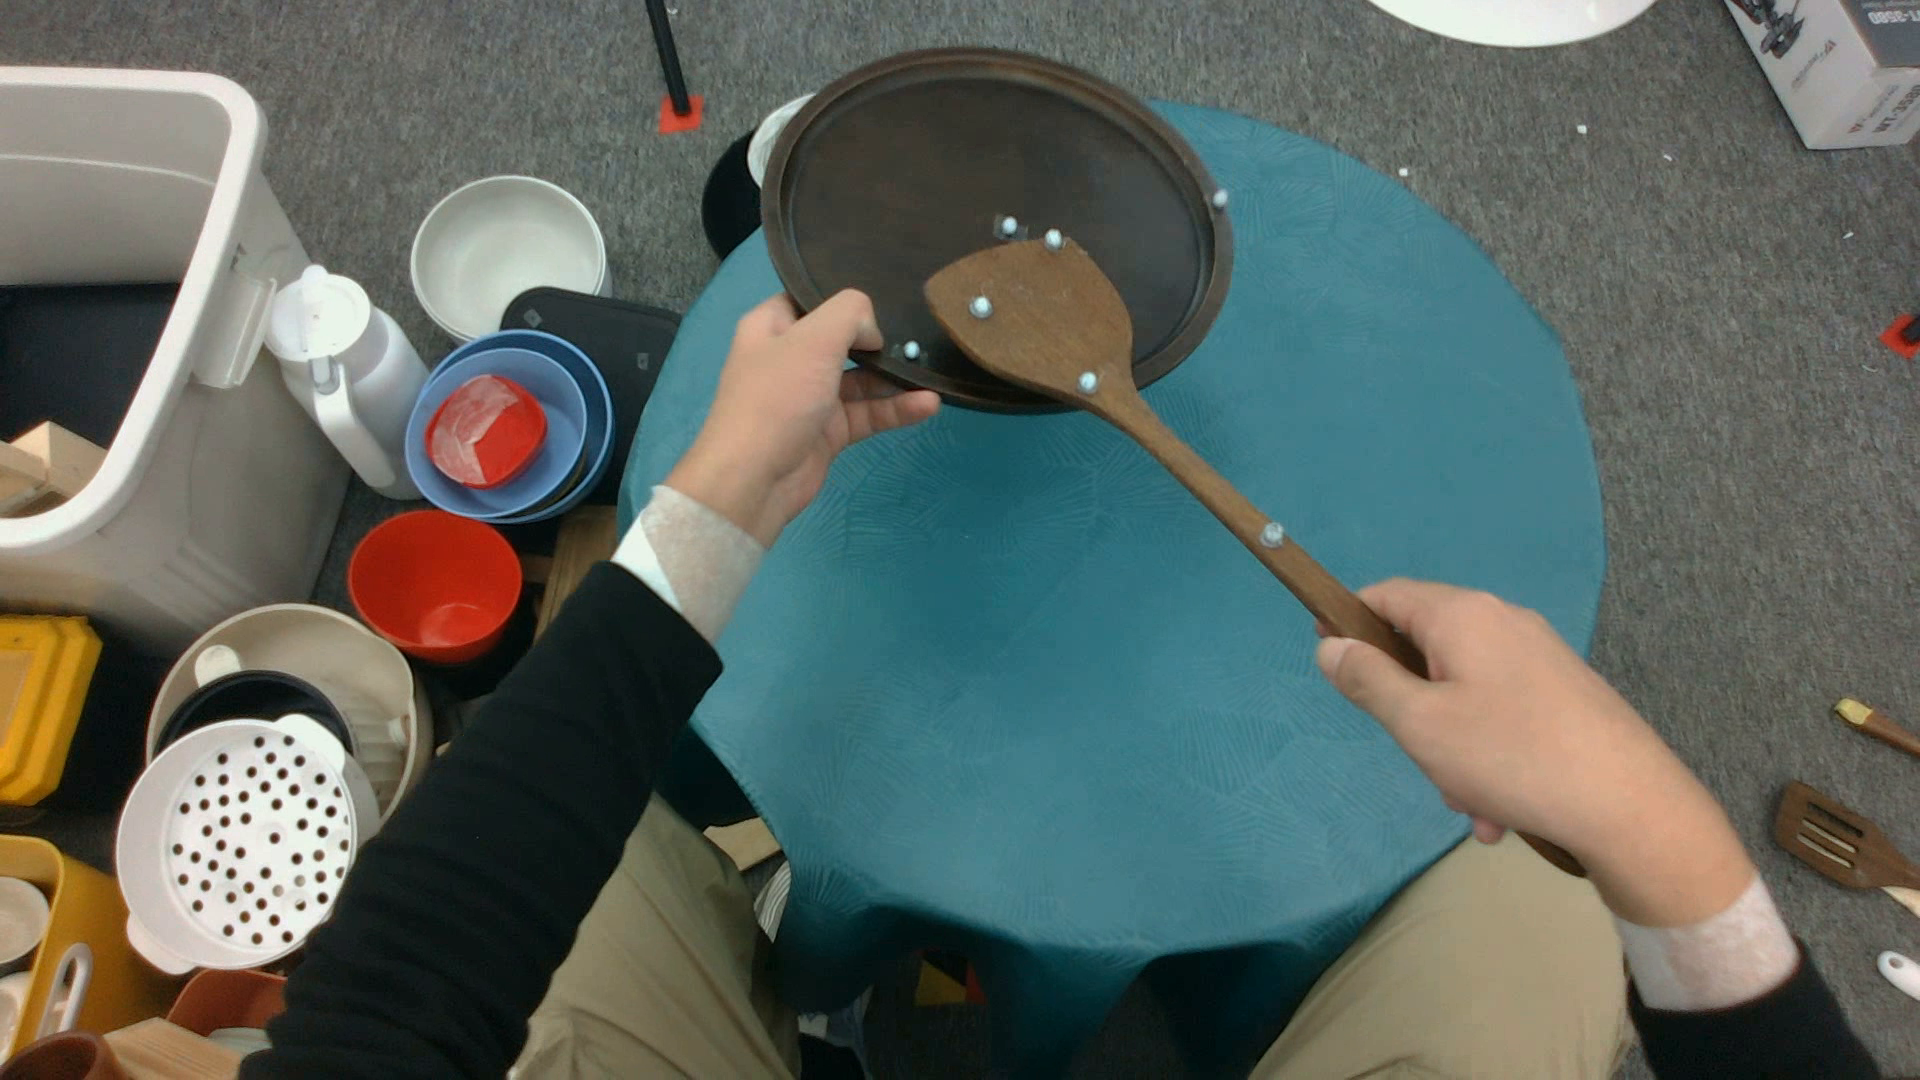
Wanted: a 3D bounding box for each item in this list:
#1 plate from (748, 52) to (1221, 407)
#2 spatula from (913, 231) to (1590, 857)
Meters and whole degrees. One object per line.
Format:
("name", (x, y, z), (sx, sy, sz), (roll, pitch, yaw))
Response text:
("plate", (0.014, -0.171, 0.733), (0.255, 0.029, 0.256), (6, 56, -8))
("spatula", (0.117, -0.016, 0.592), (0.096, 0.015, 0.386), (-25, 57, -28))
